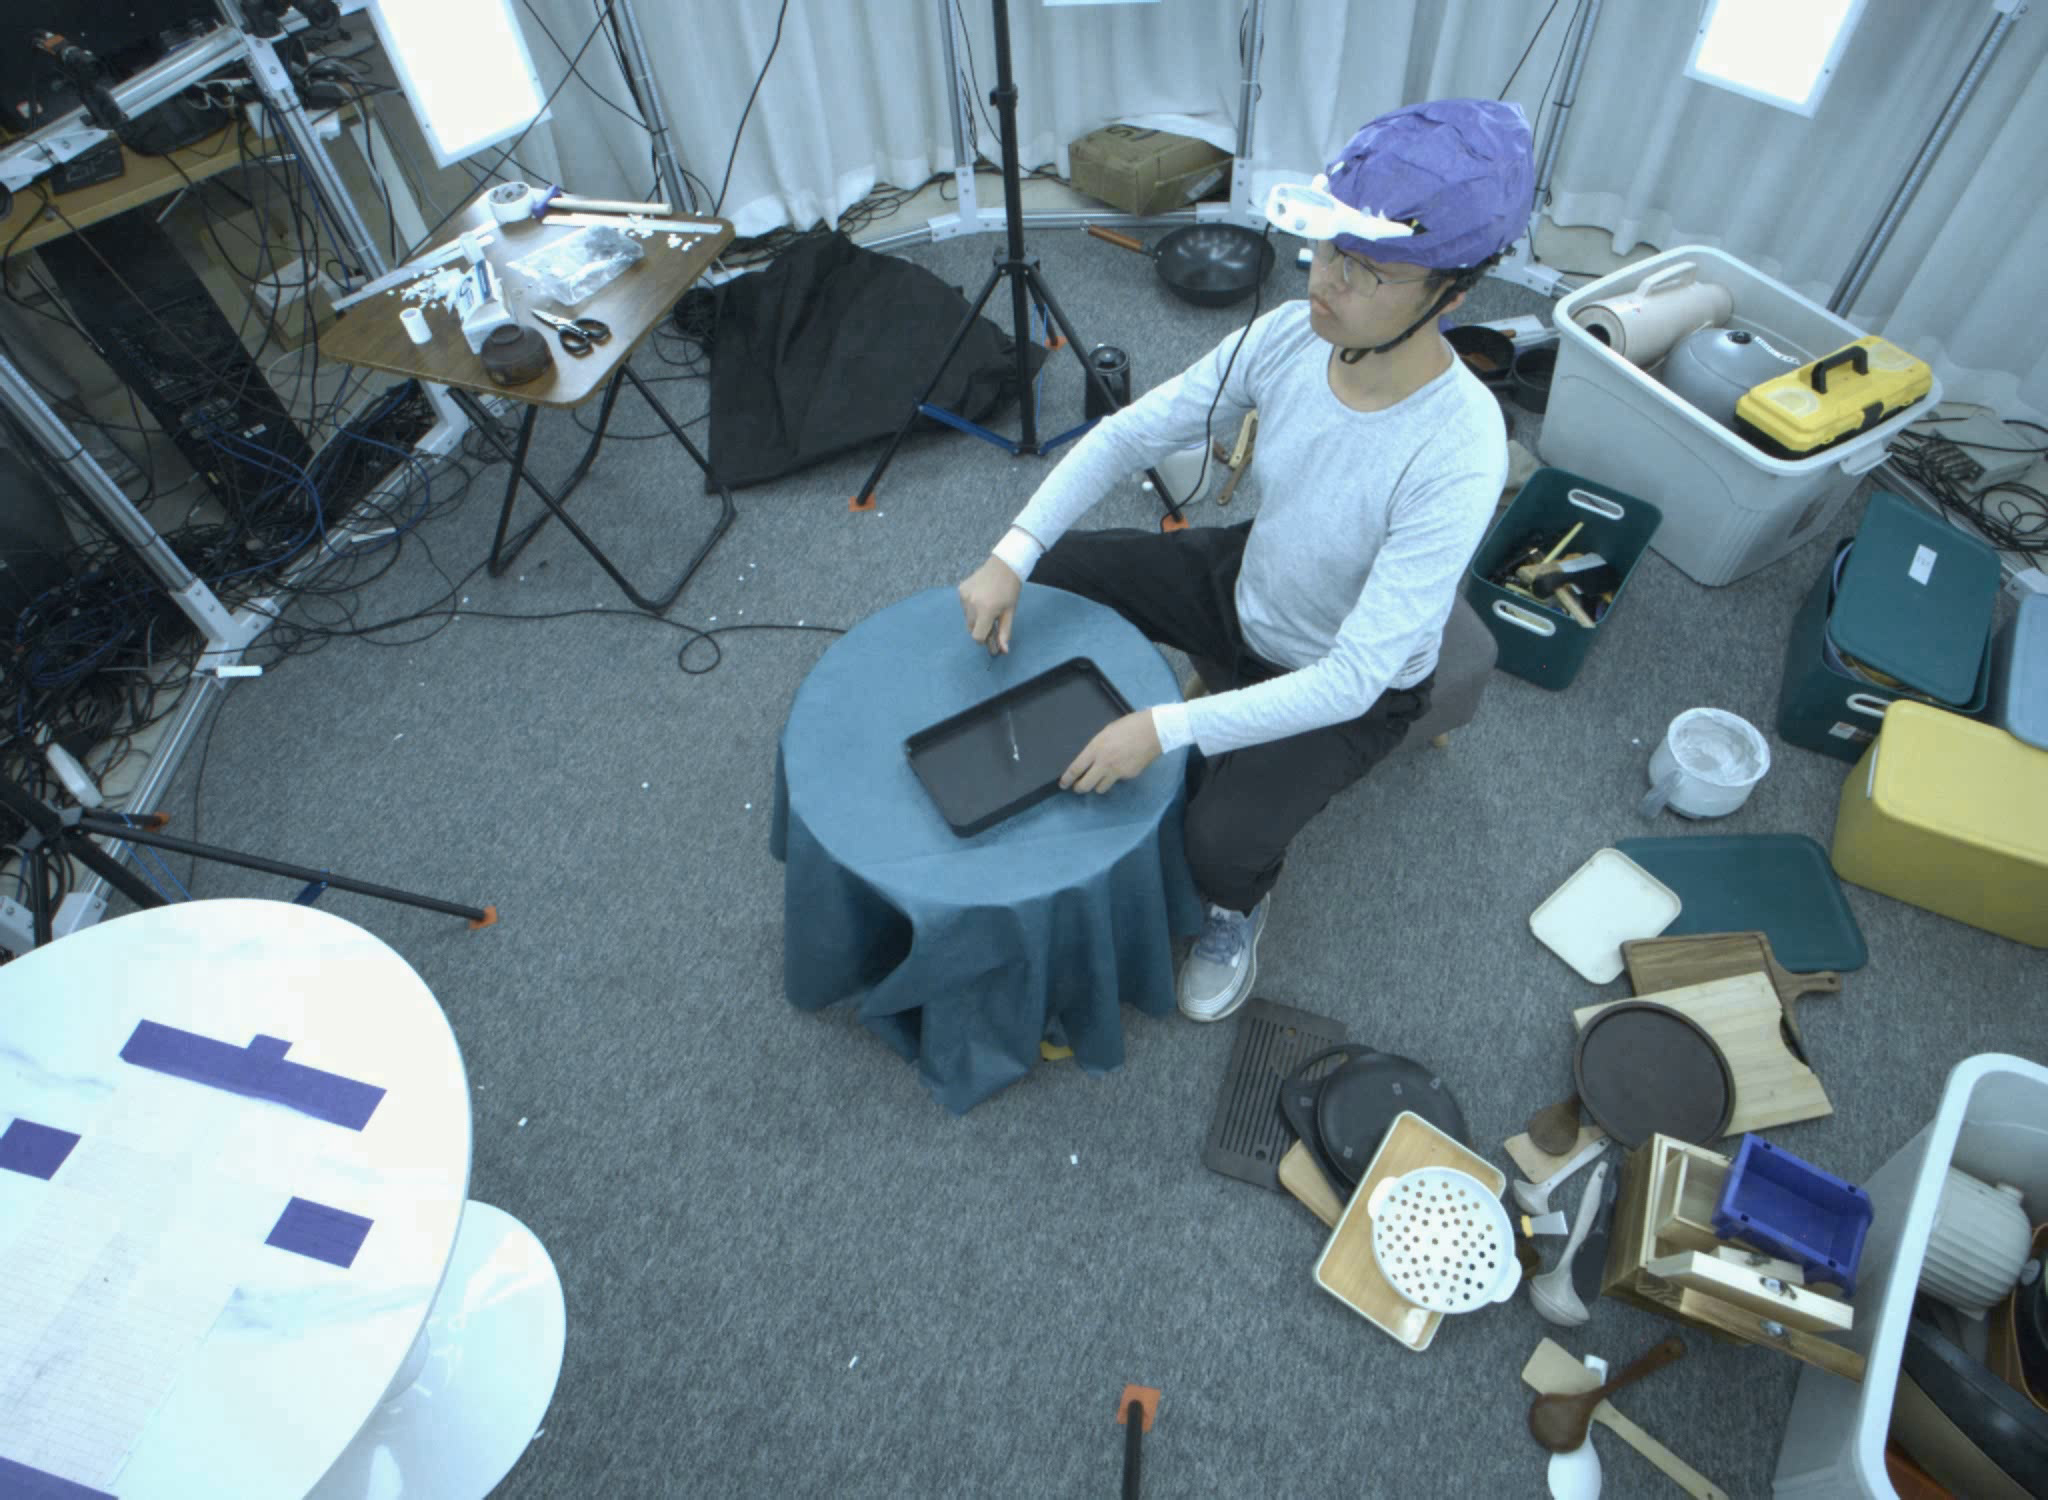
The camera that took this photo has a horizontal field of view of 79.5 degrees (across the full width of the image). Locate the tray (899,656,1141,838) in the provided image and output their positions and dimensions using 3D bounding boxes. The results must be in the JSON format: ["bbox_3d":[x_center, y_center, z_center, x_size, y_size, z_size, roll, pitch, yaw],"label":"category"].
[{"bbox_3d":[-0.005,-0.009,1.777,0.320,0.037,0.181,-28,57,-18],"label":"tray"}]

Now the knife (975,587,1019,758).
[{"bbox_3d":[-0.037,-0.117,1.803,0.020,0.051,0.286,-14,67,3],"label":"knife"}]
